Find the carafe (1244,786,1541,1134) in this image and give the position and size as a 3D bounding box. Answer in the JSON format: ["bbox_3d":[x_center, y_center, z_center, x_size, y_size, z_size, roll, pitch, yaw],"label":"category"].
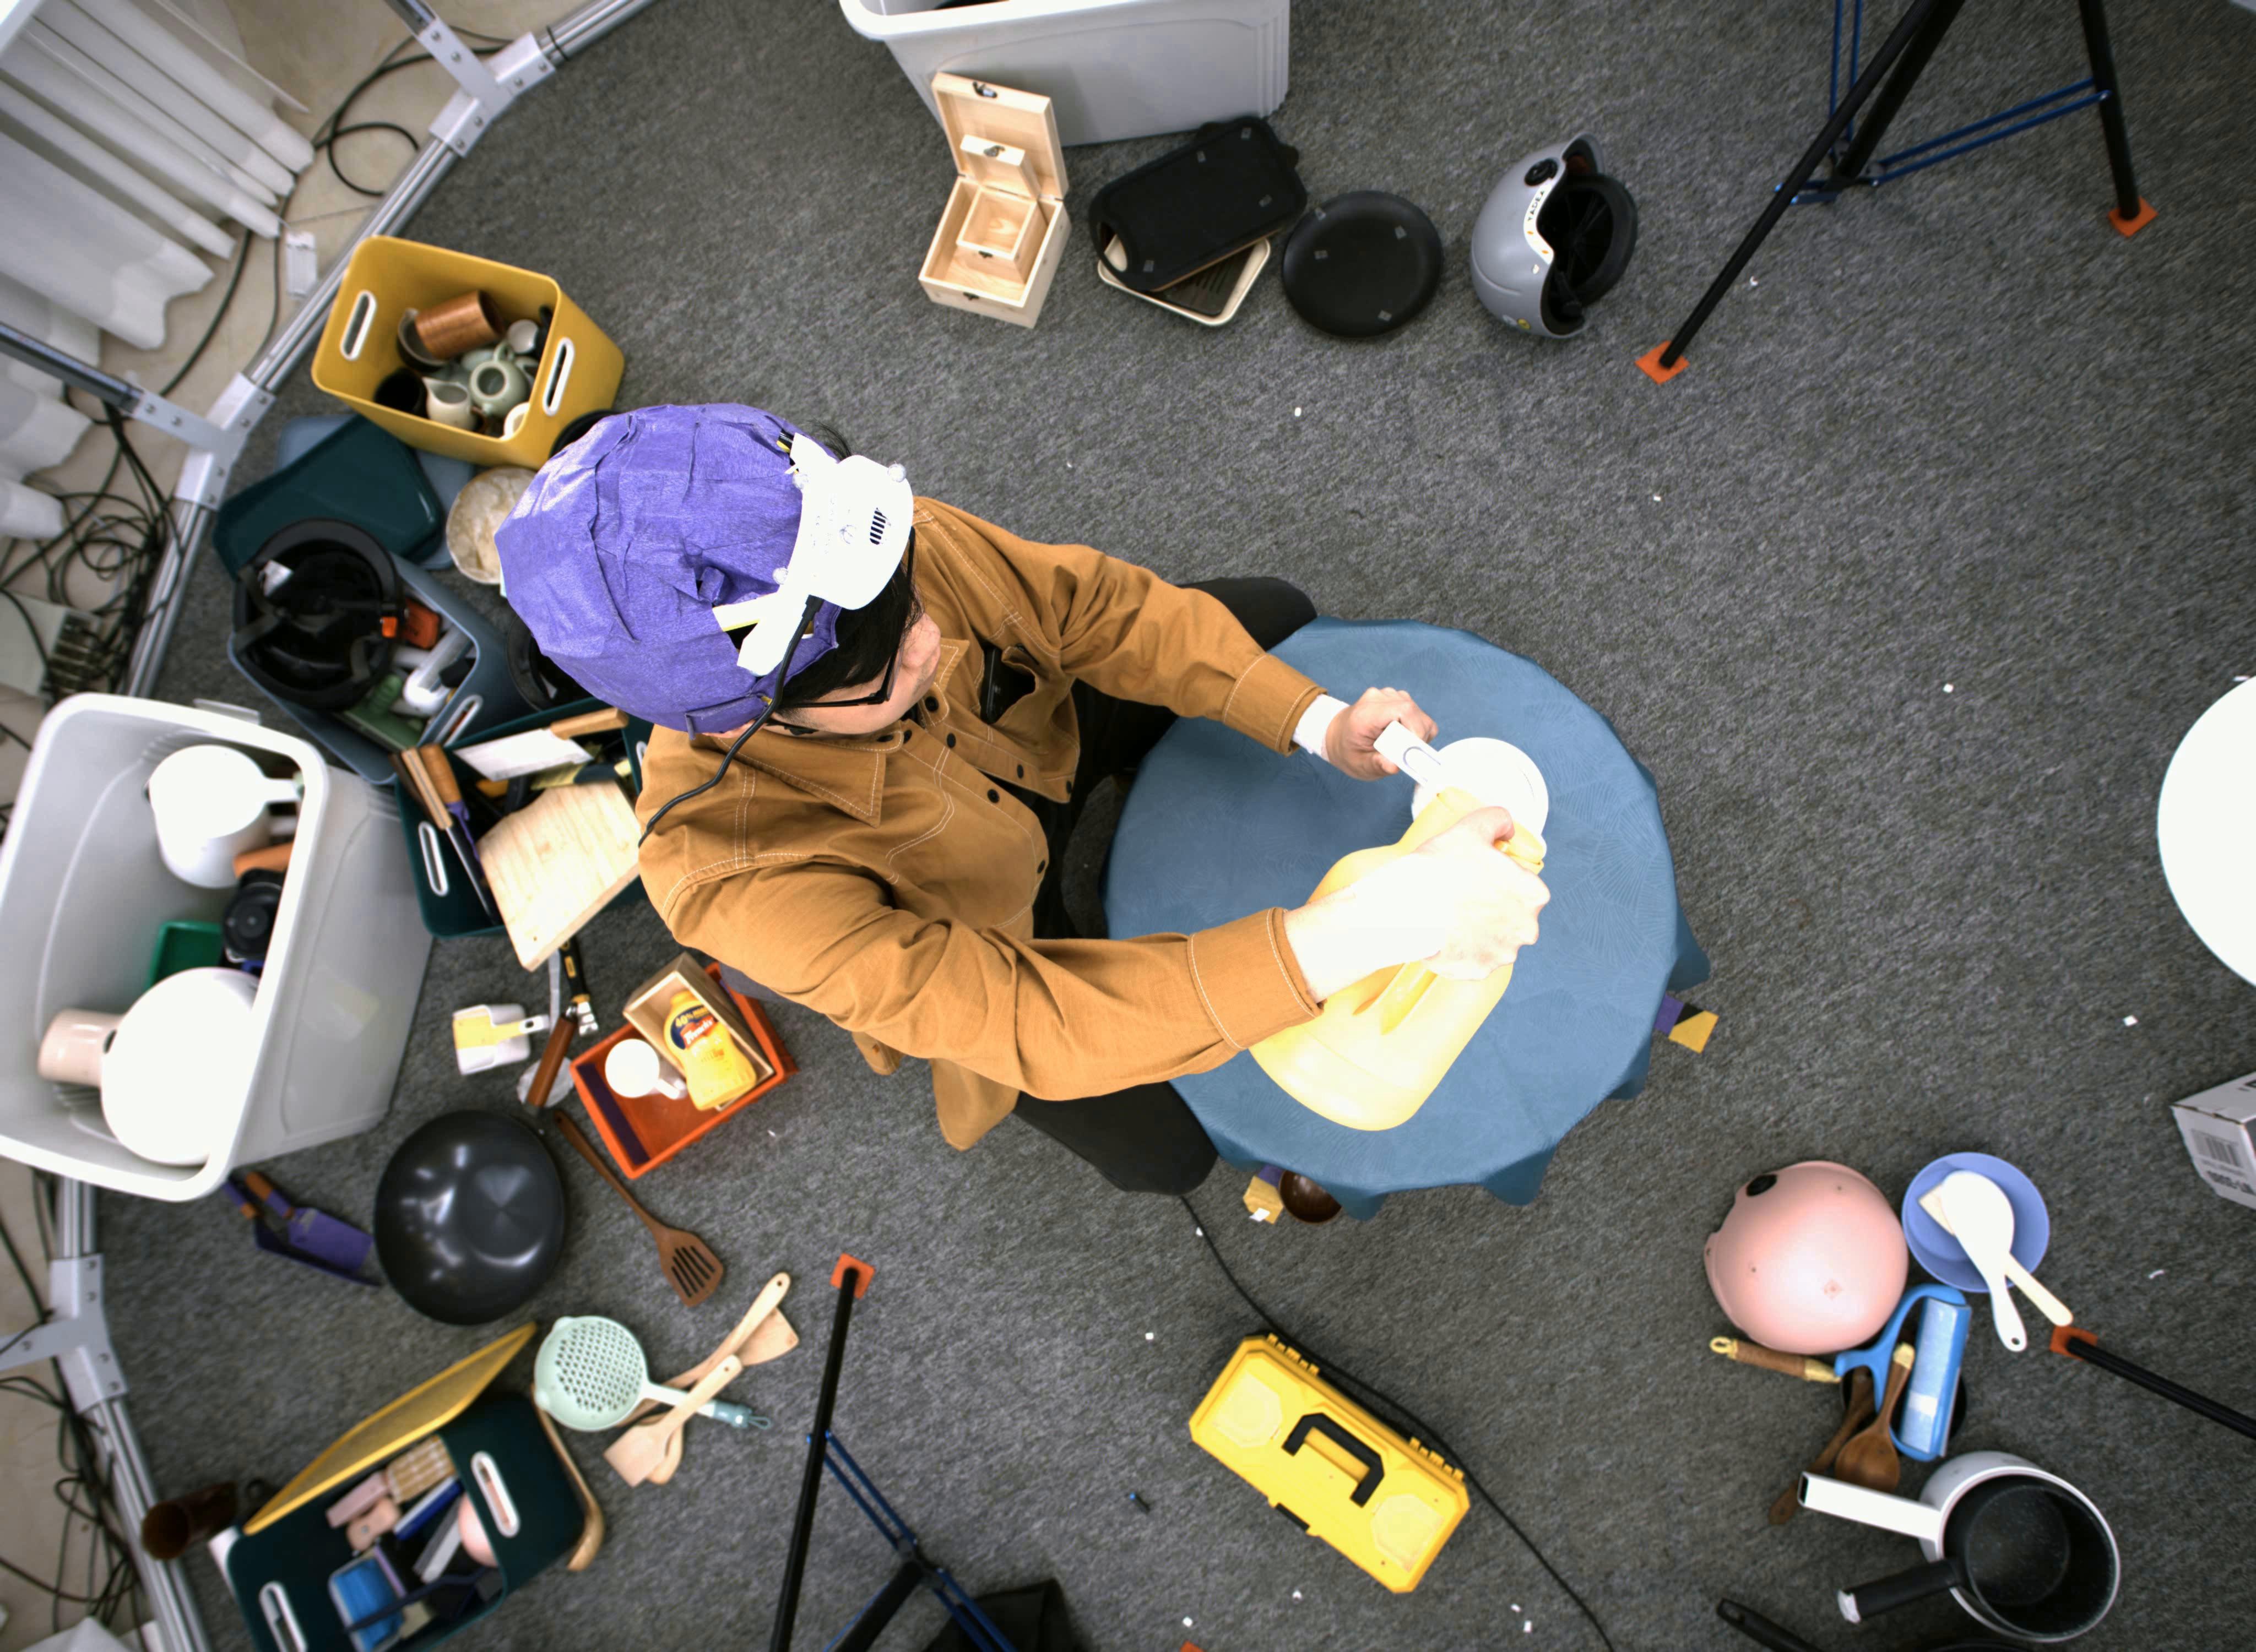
[{"bbox_3d":[0.205,0.098,1.039,0.163,0.200,0.264,31,106,7],"label":"carafe"}]

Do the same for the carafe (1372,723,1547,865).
[{"bbox_3d":[0.307,-0.031,1.262,0.172,0.266,0.125,38,104,10],"label":"carafe"}]
